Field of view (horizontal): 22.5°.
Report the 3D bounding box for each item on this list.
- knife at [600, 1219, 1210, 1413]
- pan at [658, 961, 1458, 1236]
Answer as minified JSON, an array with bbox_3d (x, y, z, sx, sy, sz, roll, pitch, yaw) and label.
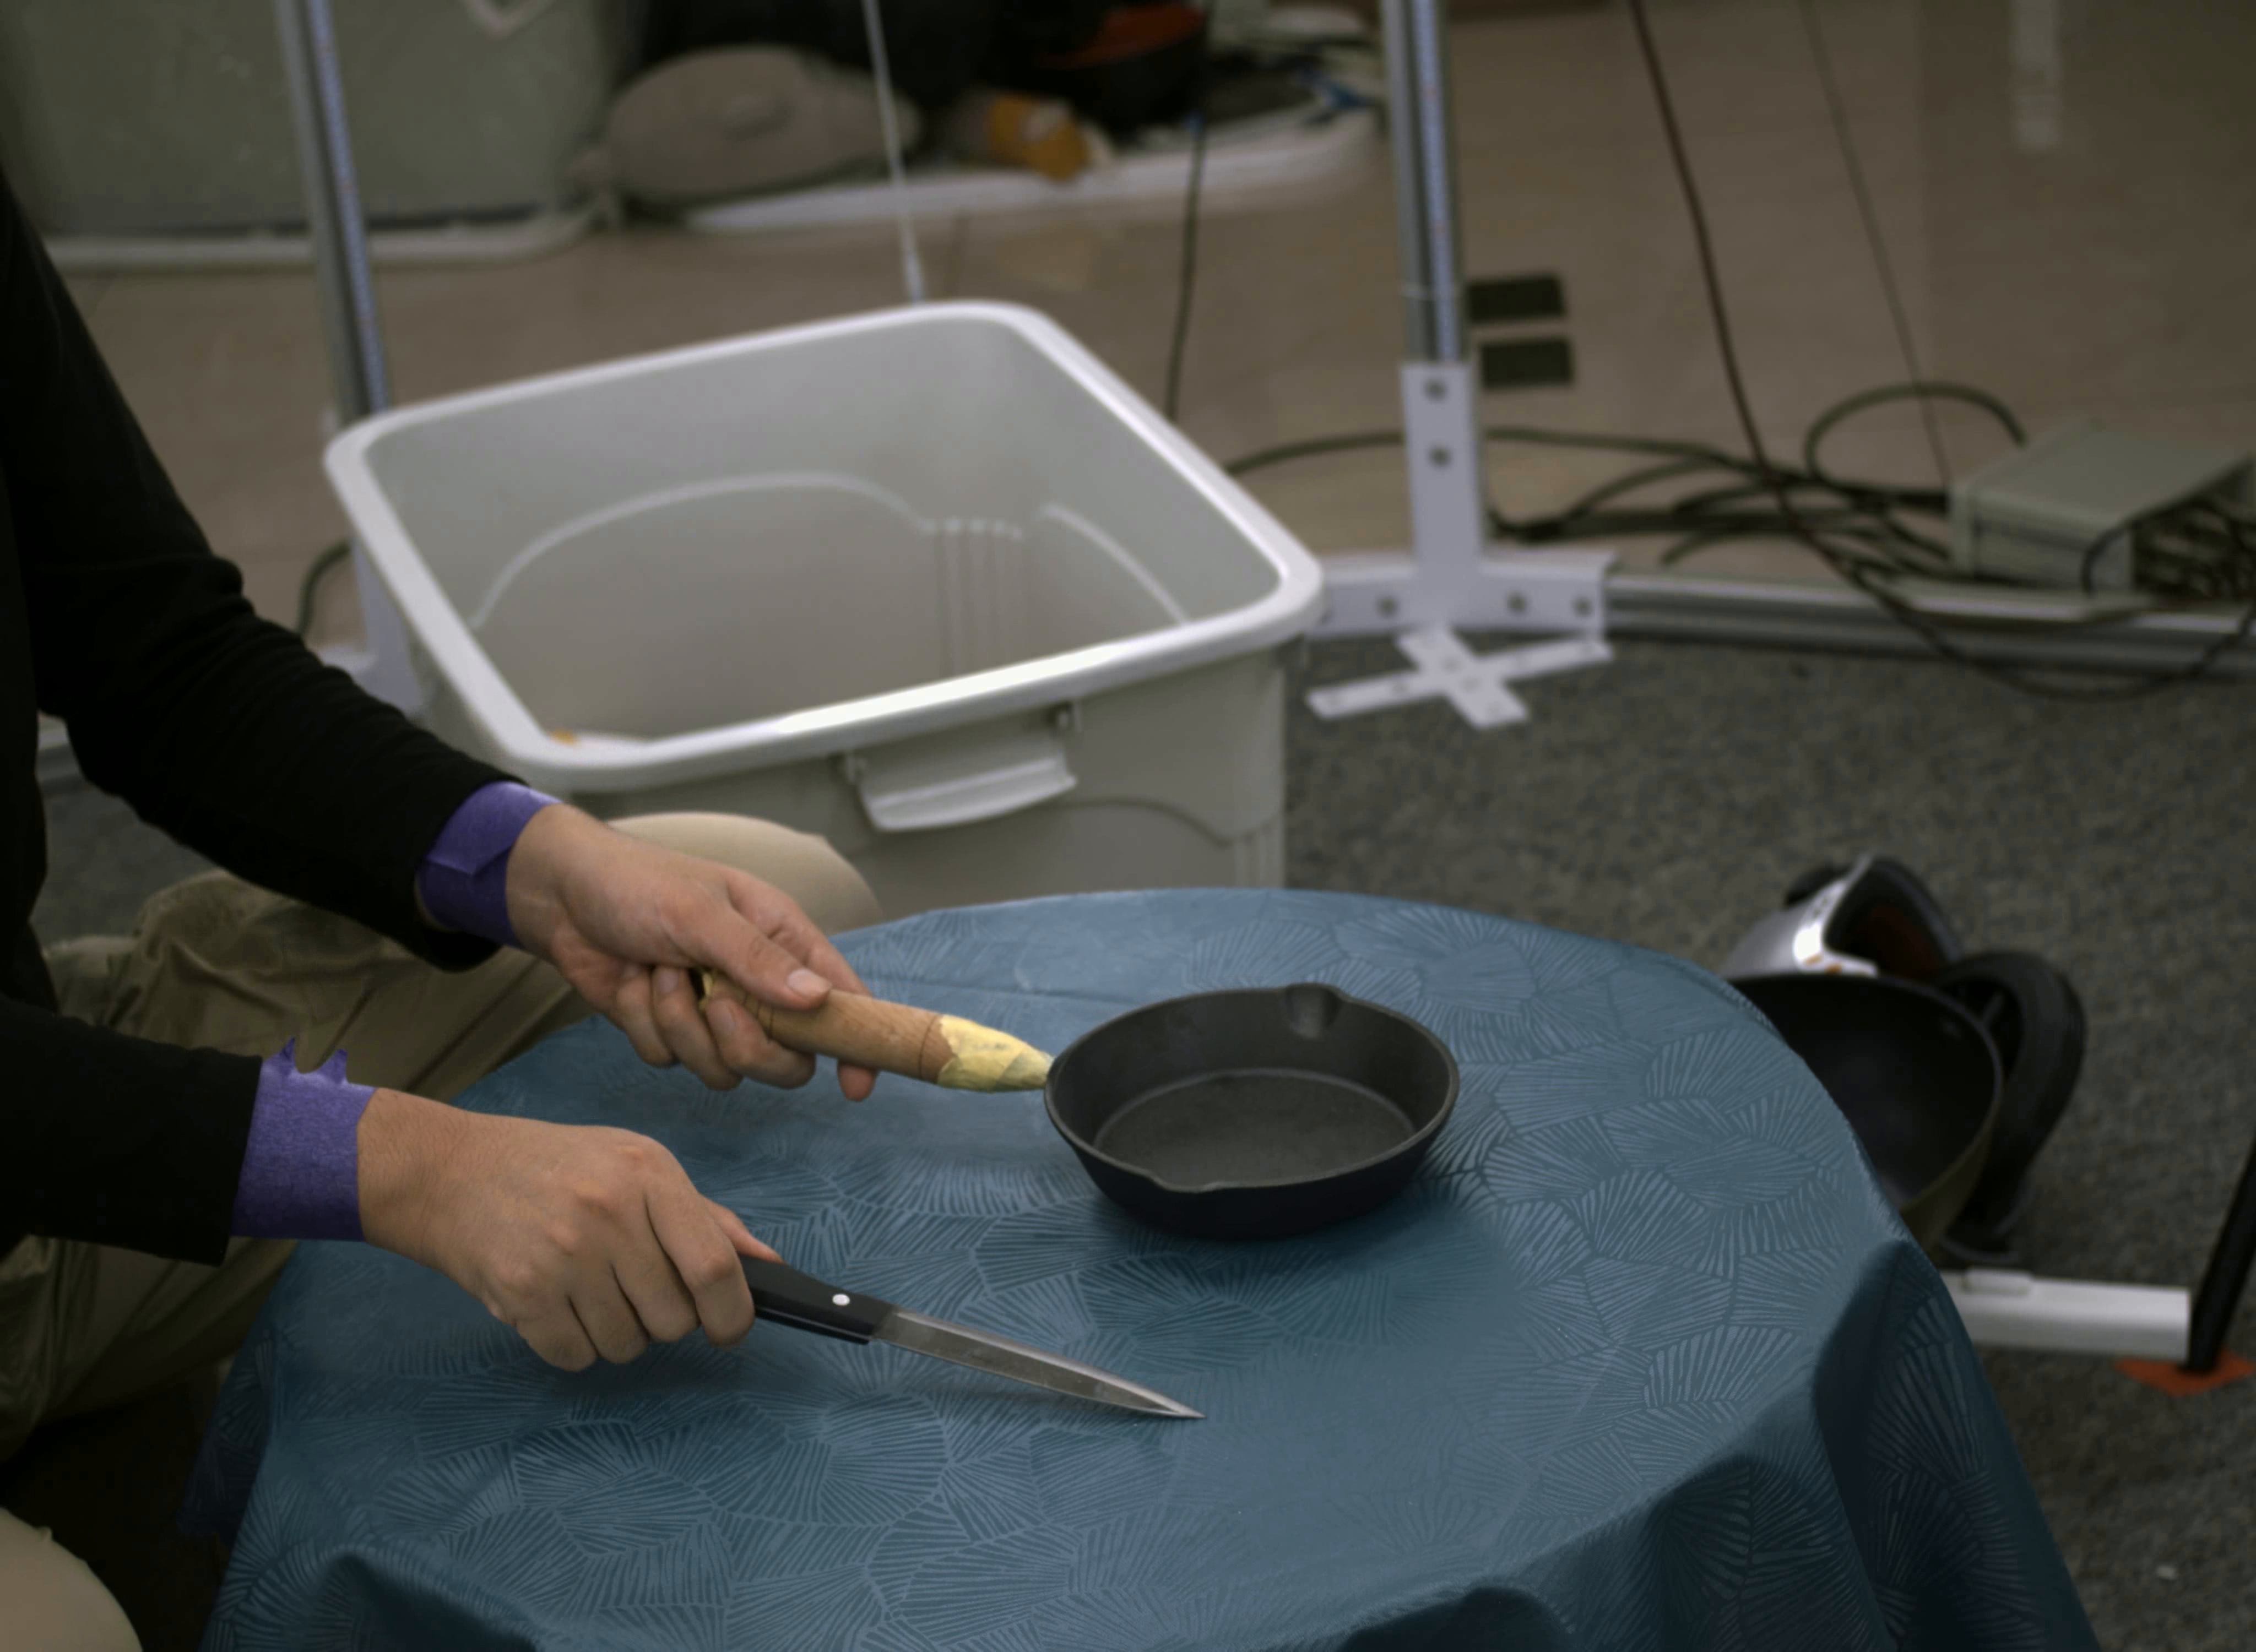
[{"bbox_3d":[-0.083,0.178,2.028,0.237,0.016,0.024,14,33,15],"label":"knife"},{"bbox_3d":[-0.031,0.095,2.175,0.323,0.050,0.167,7,28,21],"label":"pan"}]
